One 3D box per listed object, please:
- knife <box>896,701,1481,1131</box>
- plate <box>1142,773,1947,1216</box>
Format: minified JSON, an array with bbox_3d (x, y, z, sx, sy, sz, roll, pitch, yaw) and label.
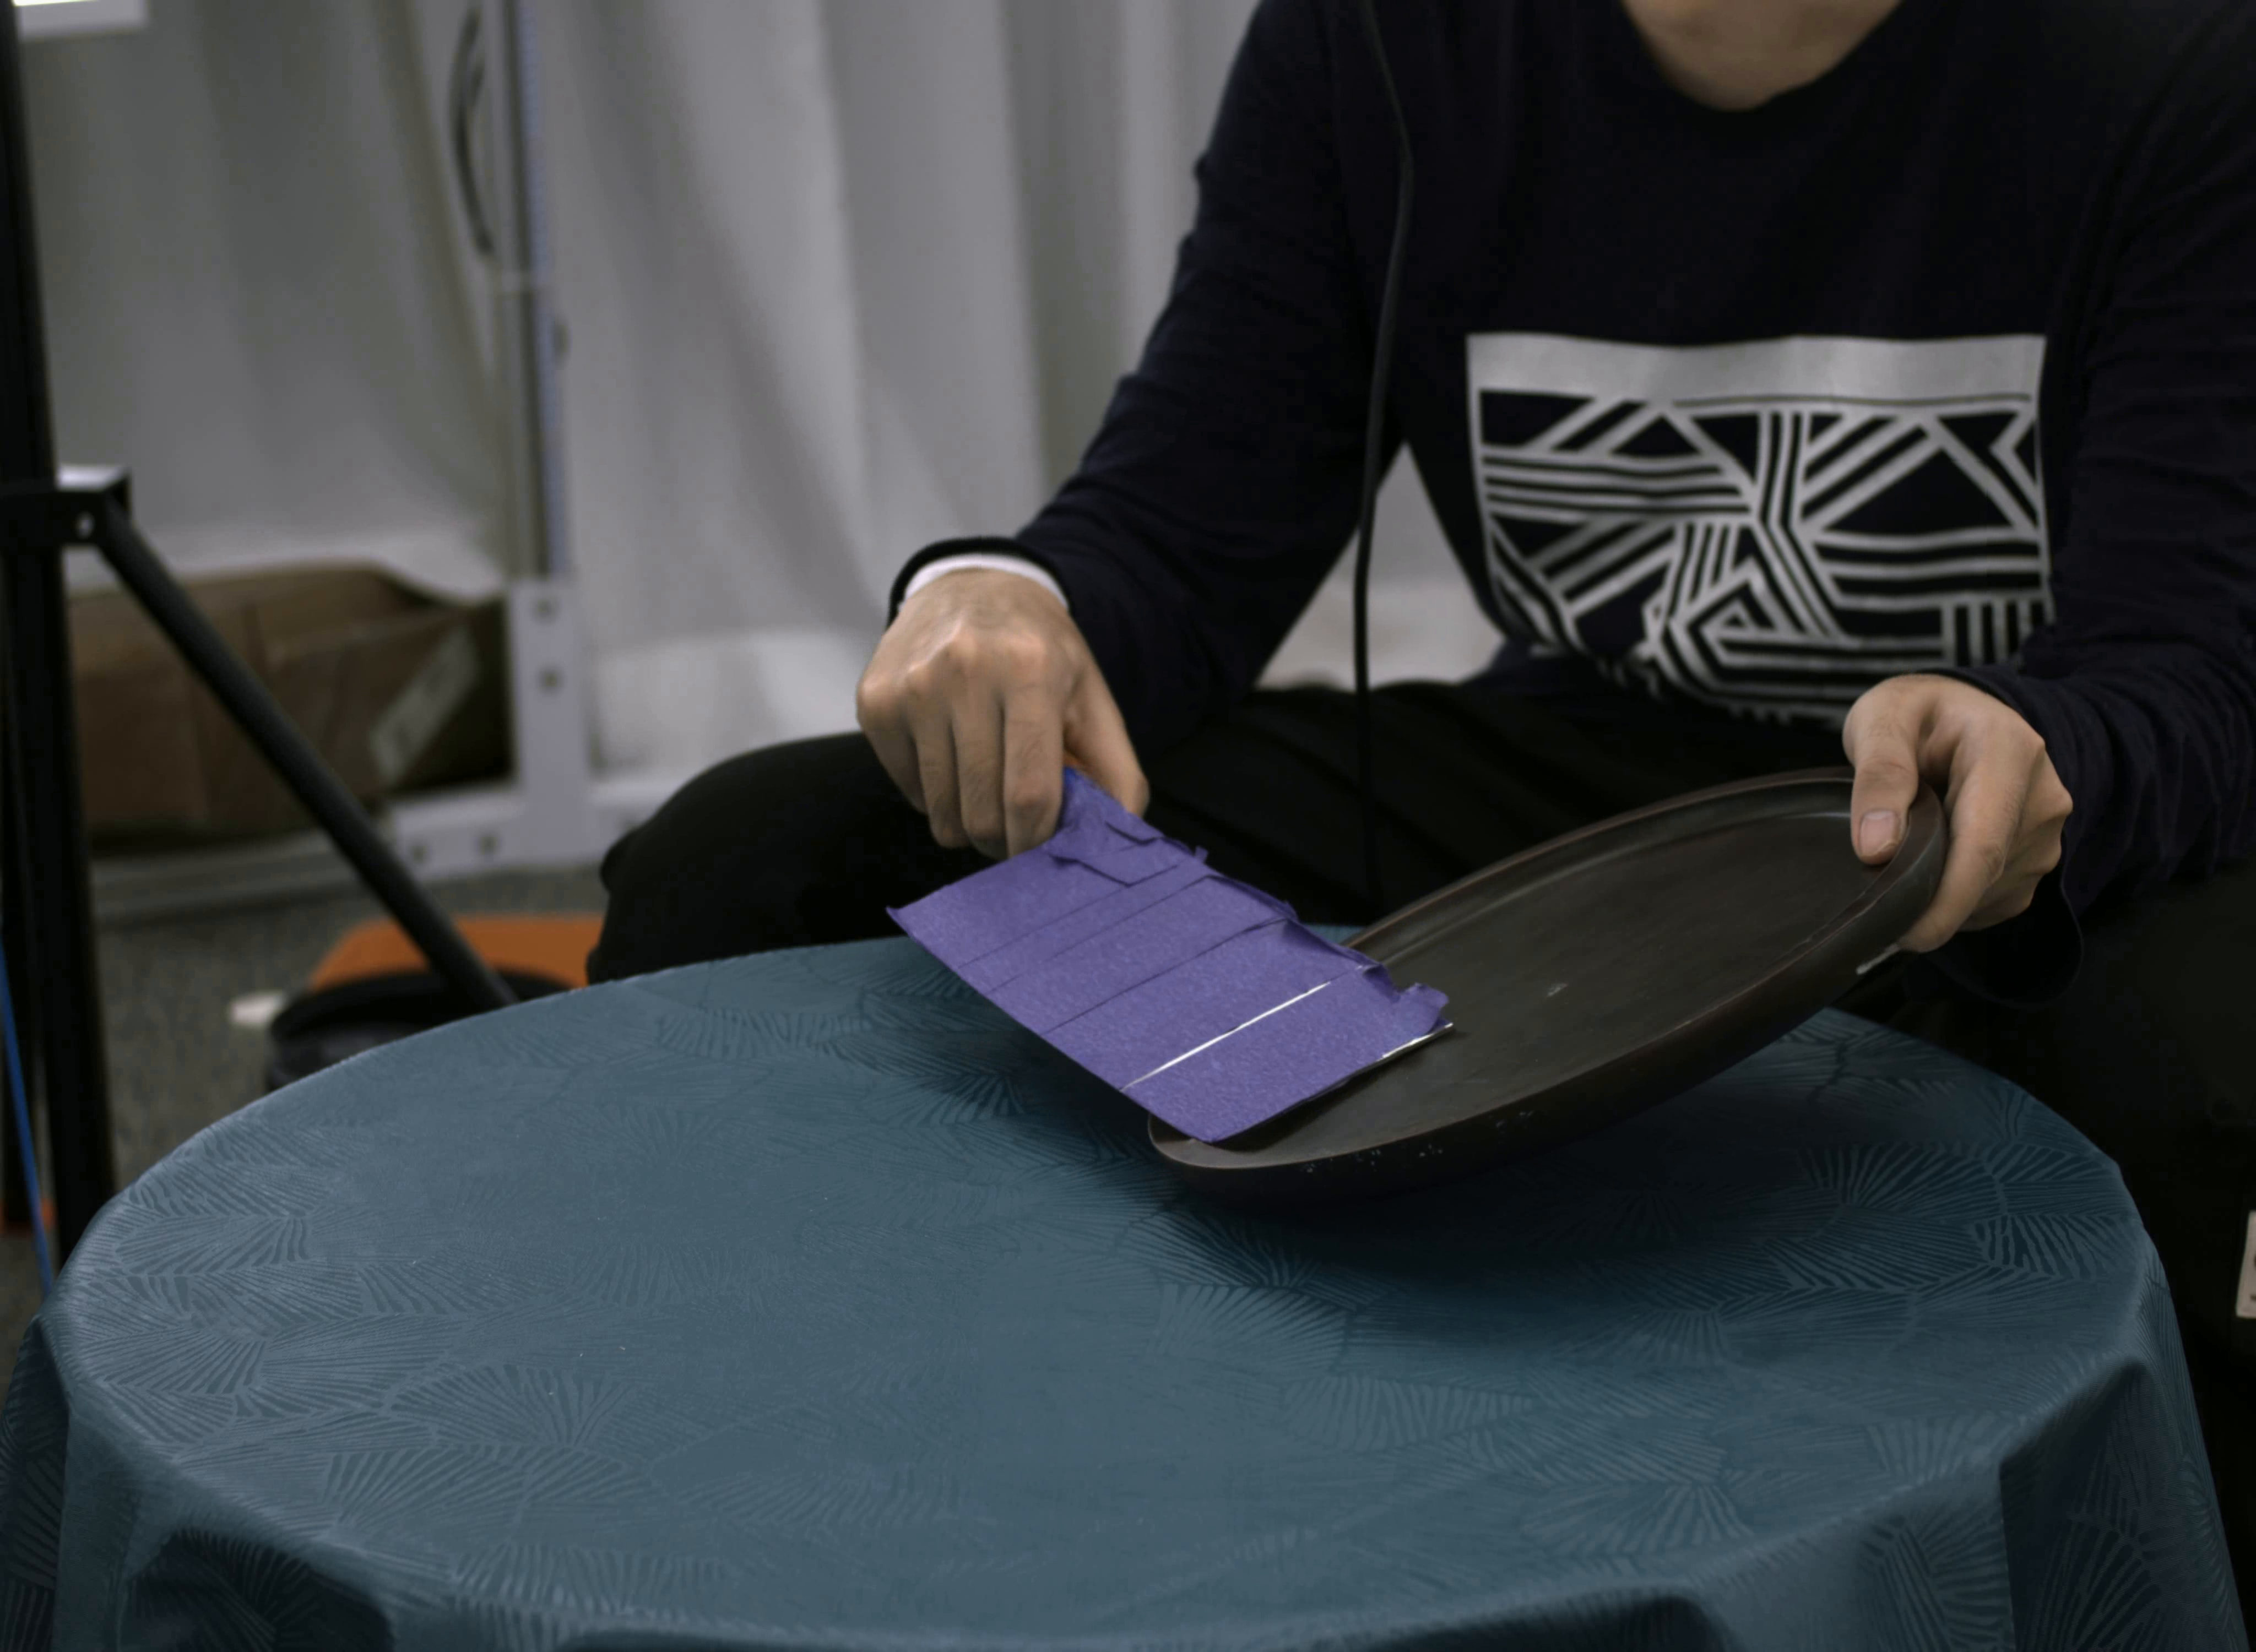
[{"bbox_3d":[-0.015,0.024,1.675,0.102,0.032,0.322,-24,26,-21],"label":"knife"},{"bbox_3d":[0.123,0.049,1.559,0.255,0.029,0.256,-25,13,4],"label":"plate"}]
